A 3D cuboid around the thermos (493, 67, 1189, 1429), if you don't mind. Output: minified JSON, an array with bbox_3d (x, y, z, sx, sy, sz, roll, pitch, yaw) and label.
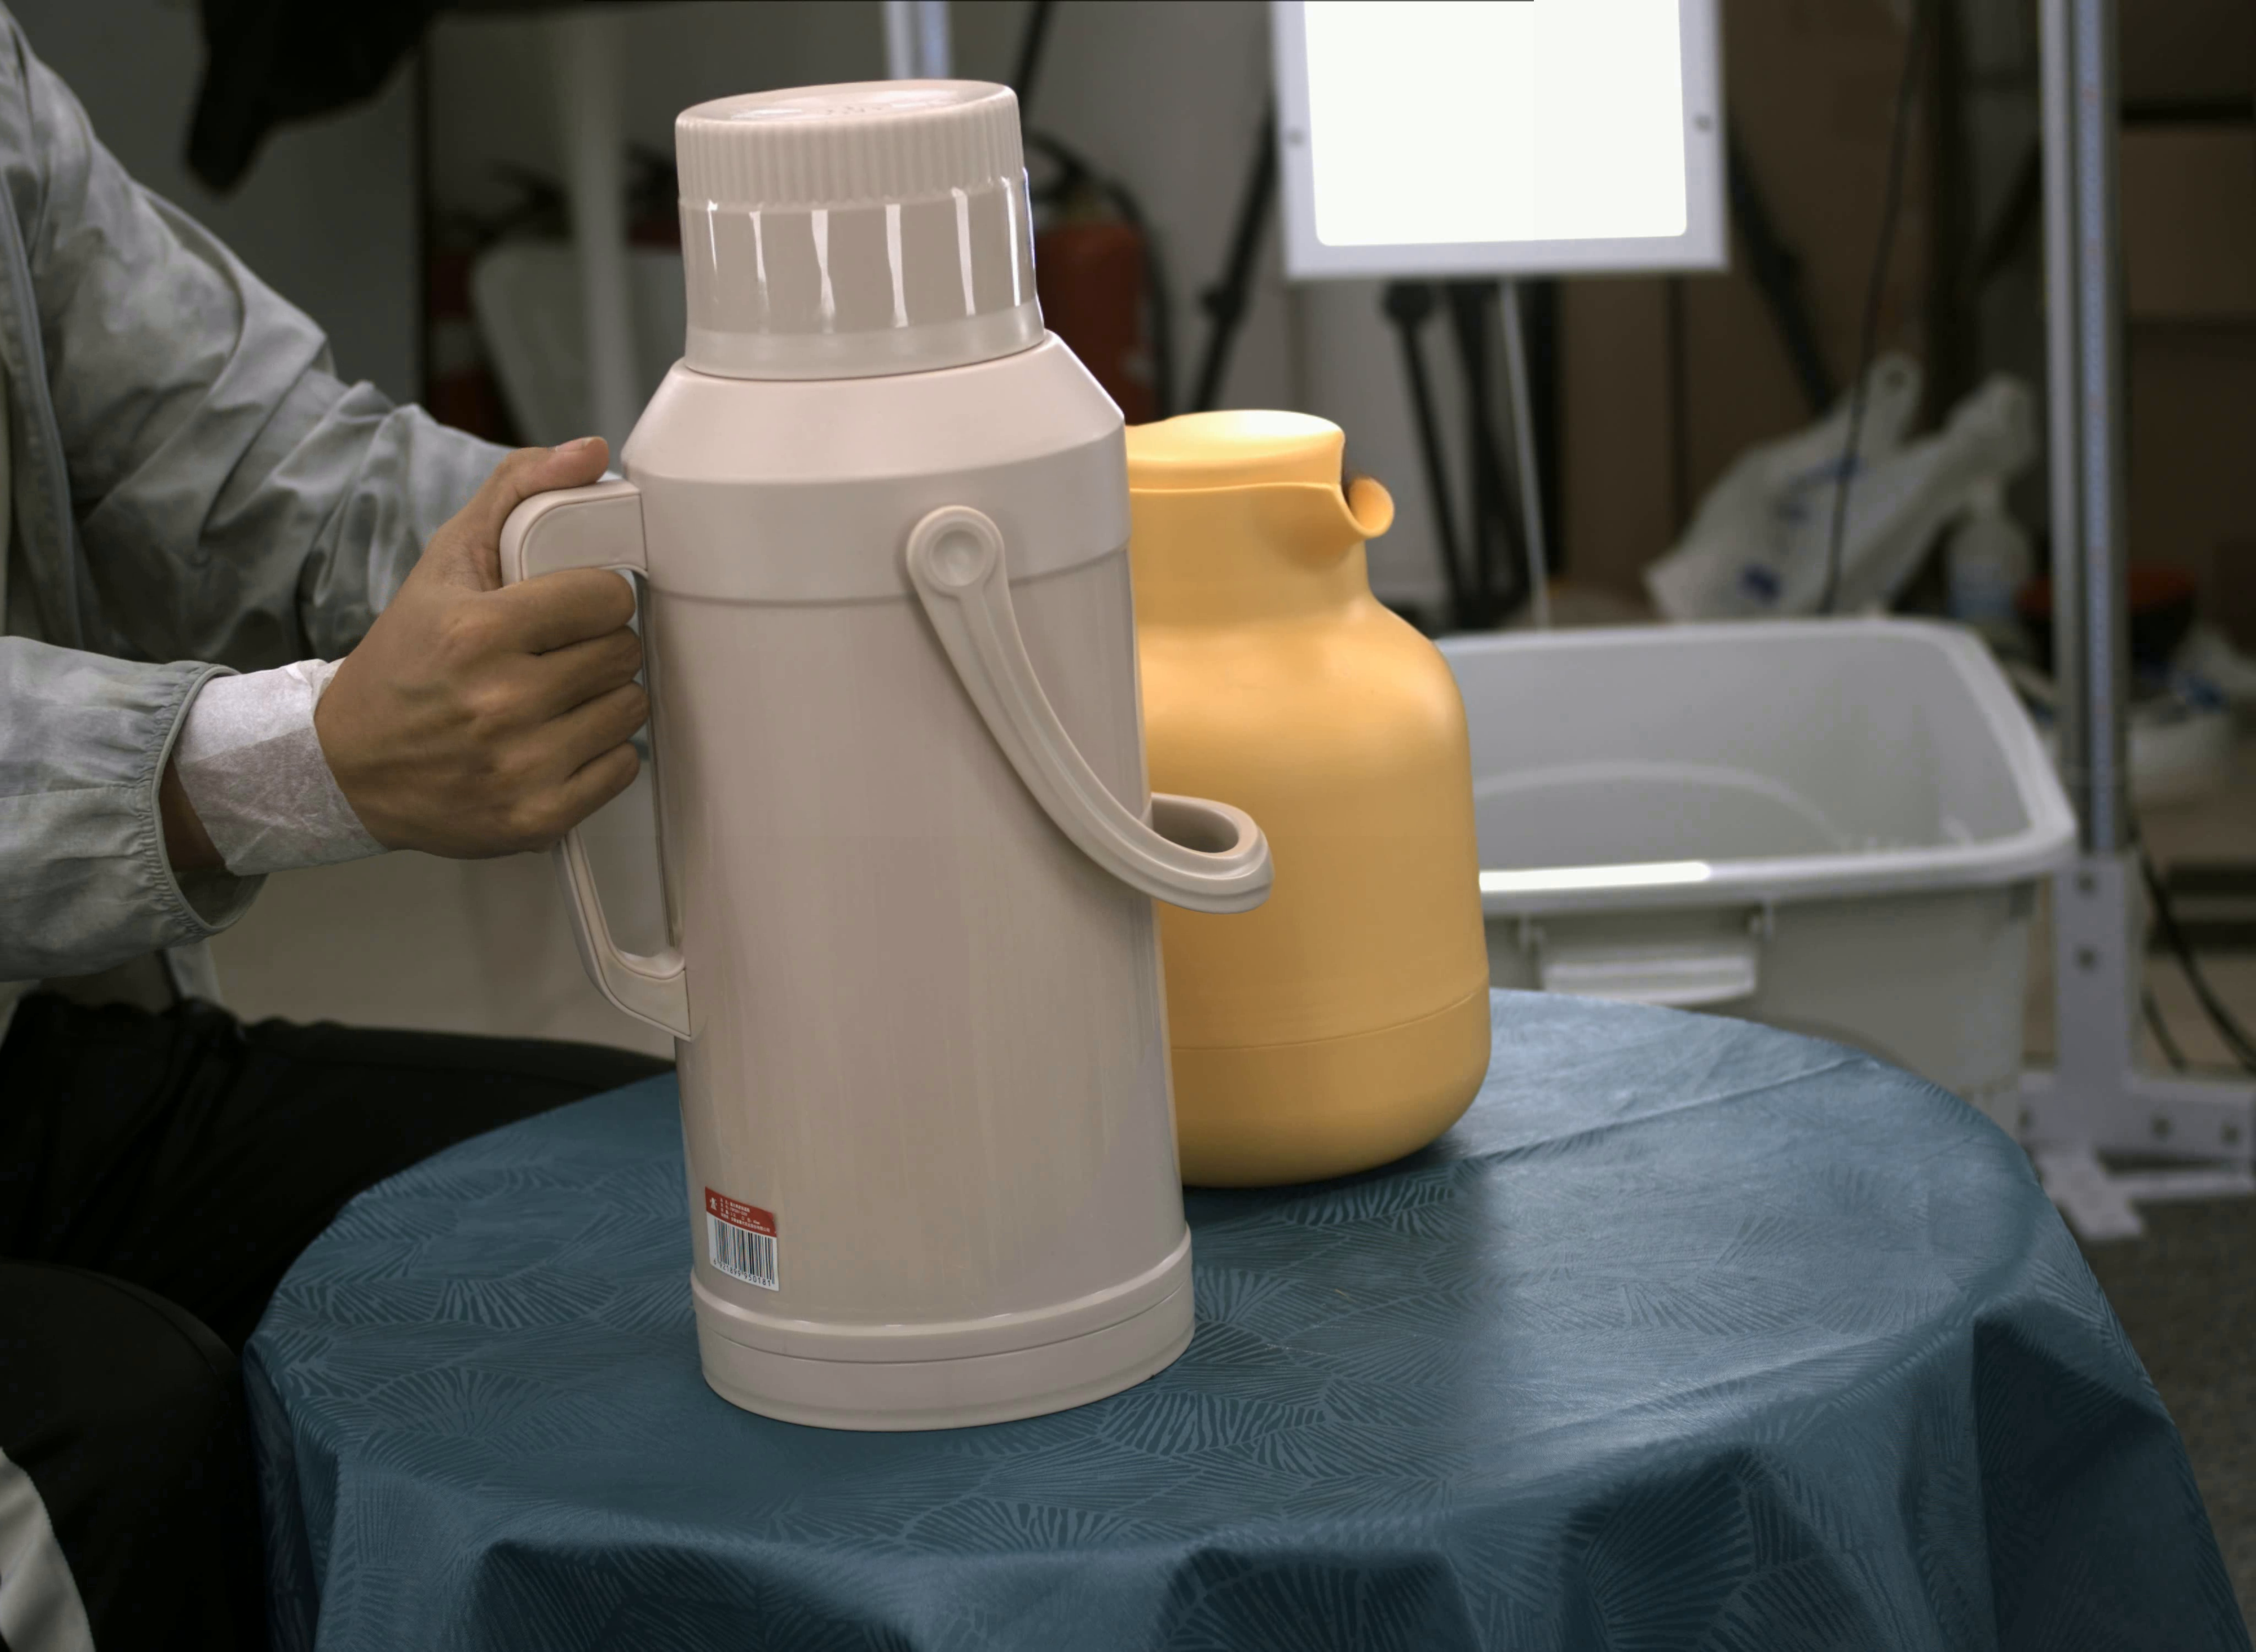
[{"bbox_3d":[-0.087,-0.025,1.707,0.204,0.408,0.177,-8,15,-15],"label":"thermos"}]

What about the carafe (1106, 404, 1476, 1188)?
[{"bbox_3d":[0.026,-0.017,1.923,0.159,0.261,0.206,-13,17,-39],"label":"carafe"}]
